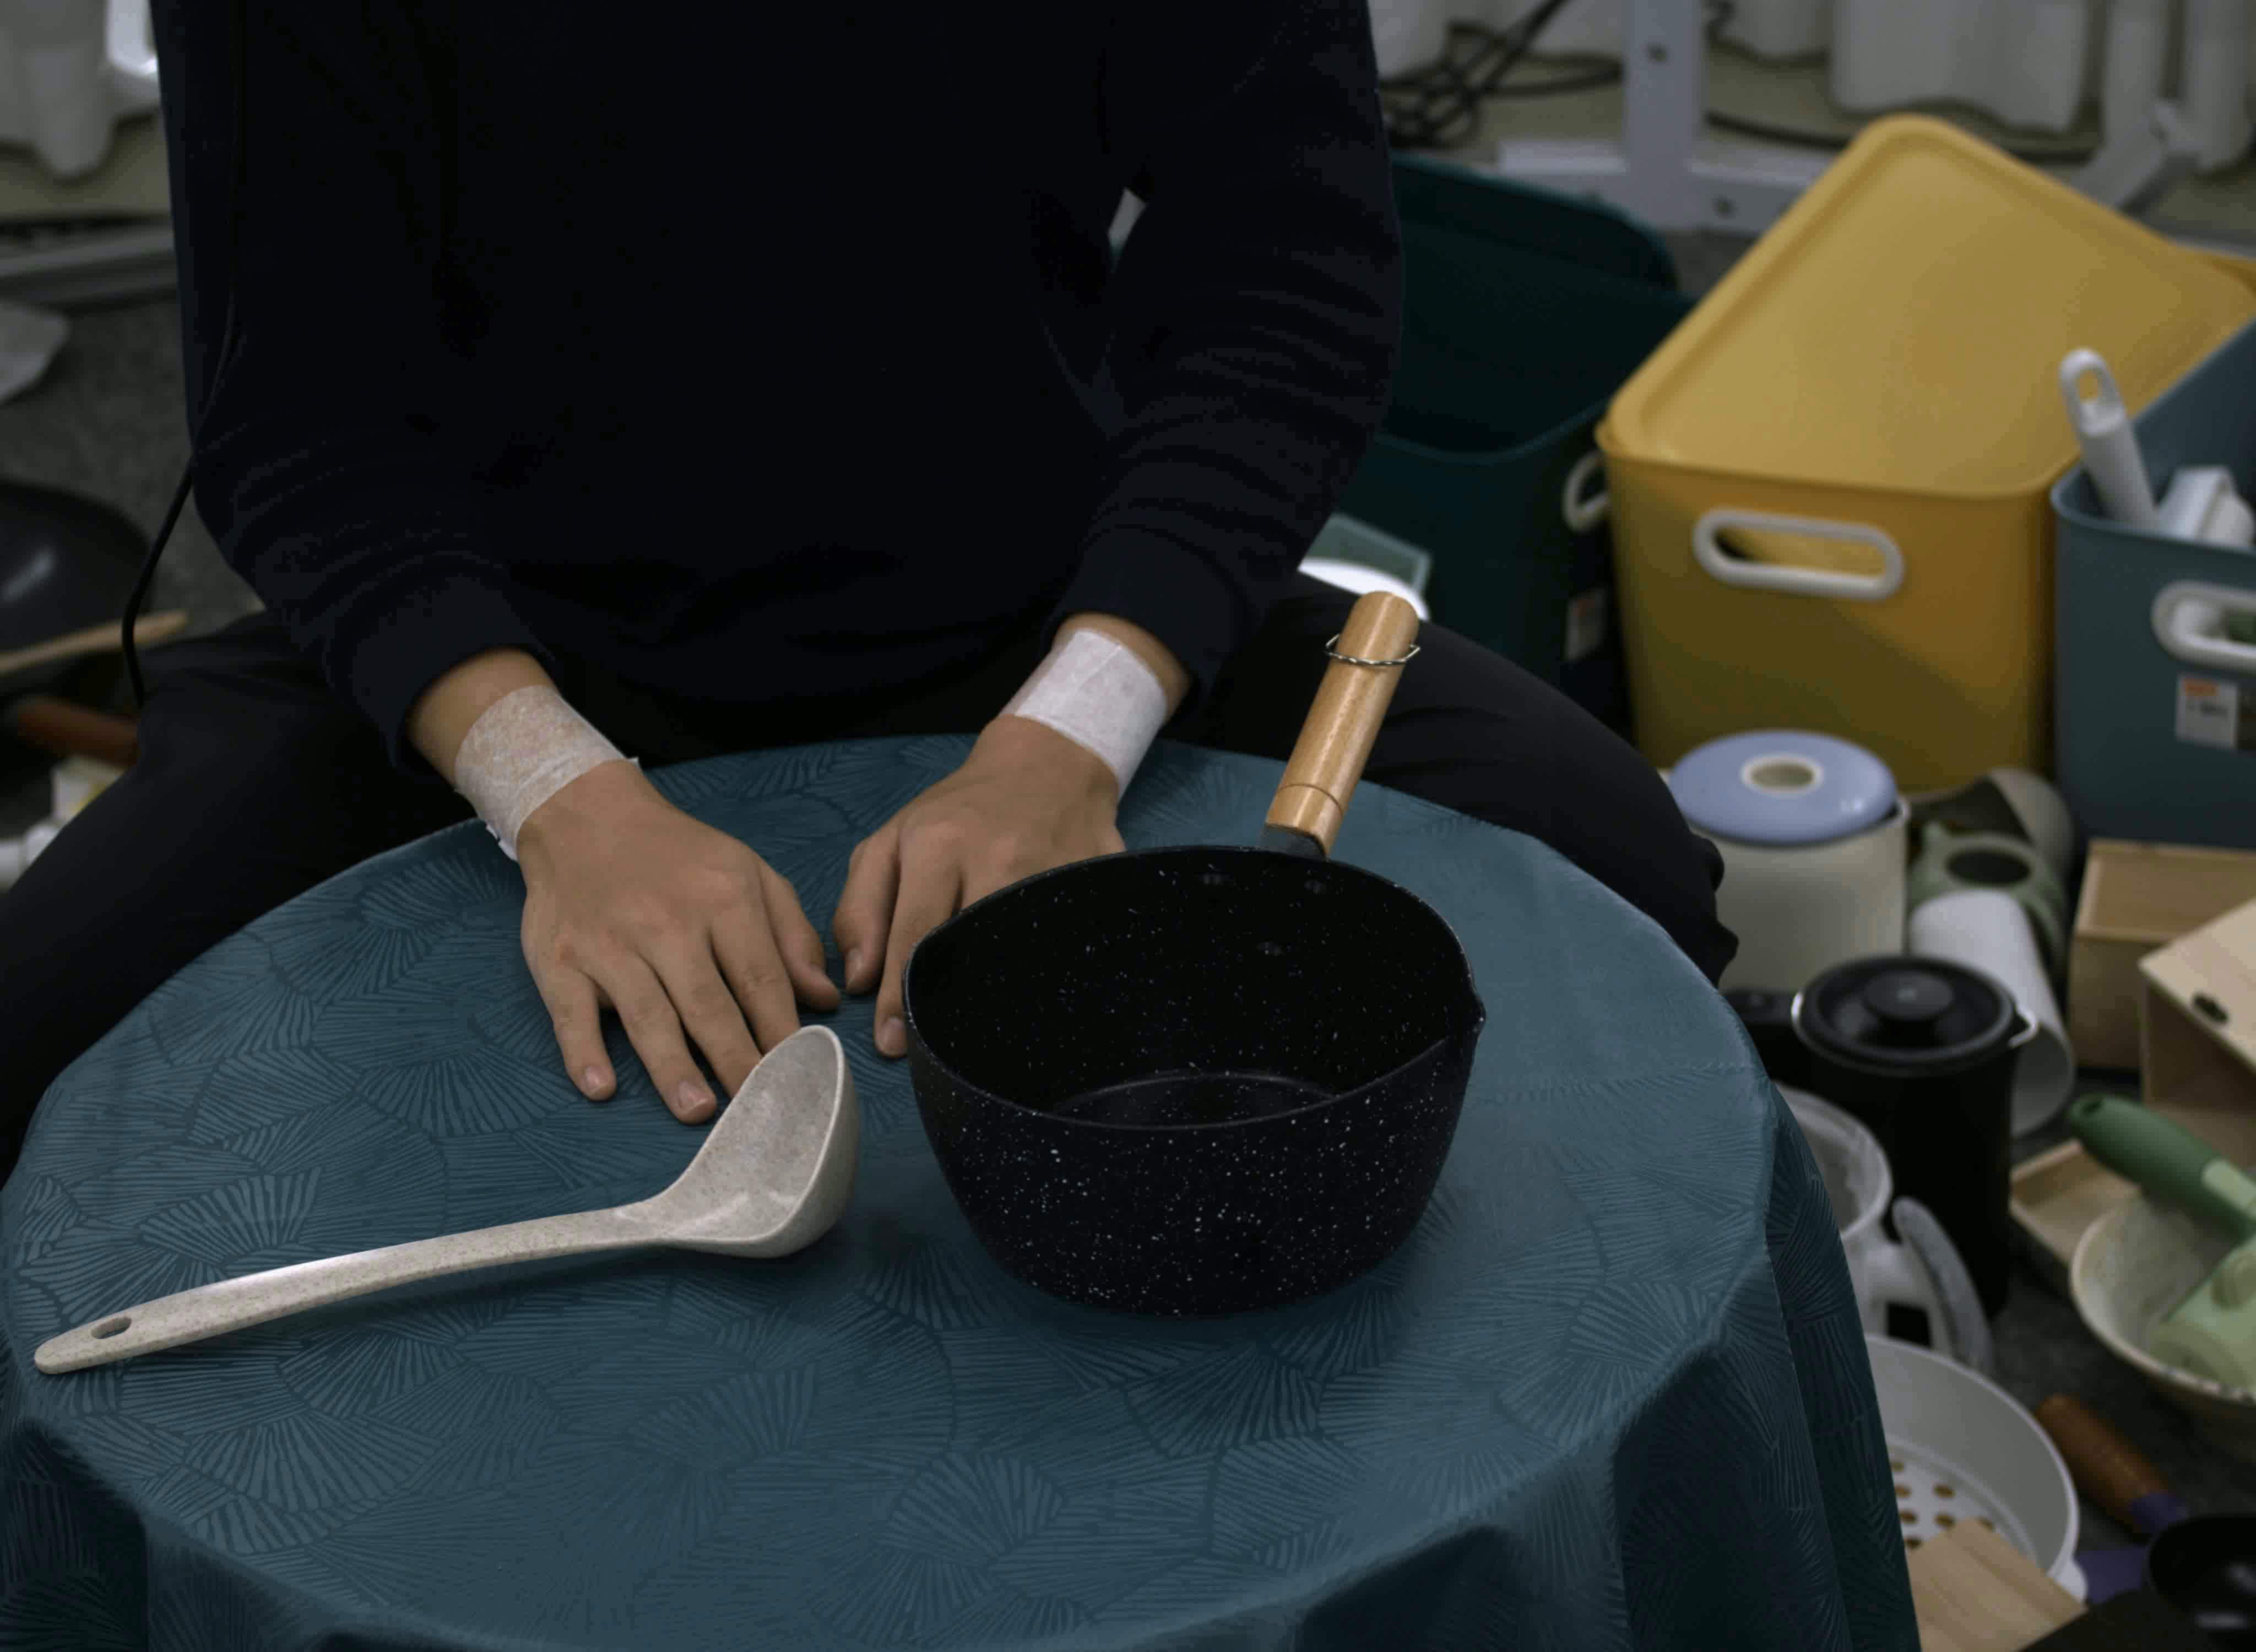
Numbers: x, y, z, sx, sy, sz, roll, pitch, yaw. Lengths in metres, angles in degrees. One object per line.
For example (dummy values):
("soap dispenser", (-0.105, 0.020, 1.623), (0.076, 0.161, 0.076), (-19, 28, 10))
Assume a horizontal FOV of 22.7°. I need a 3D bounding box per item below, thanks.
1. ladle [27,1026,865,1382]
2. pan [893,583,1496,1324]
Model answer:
("ladle", (-0.219, 0.123, 1.808), (0.275, 0.068, 0.090), (-10, 32, -13))
("pan", (0.043, 0.039, 1.900), (0.206, 0.107, 0.349), (4, 30, 16))
